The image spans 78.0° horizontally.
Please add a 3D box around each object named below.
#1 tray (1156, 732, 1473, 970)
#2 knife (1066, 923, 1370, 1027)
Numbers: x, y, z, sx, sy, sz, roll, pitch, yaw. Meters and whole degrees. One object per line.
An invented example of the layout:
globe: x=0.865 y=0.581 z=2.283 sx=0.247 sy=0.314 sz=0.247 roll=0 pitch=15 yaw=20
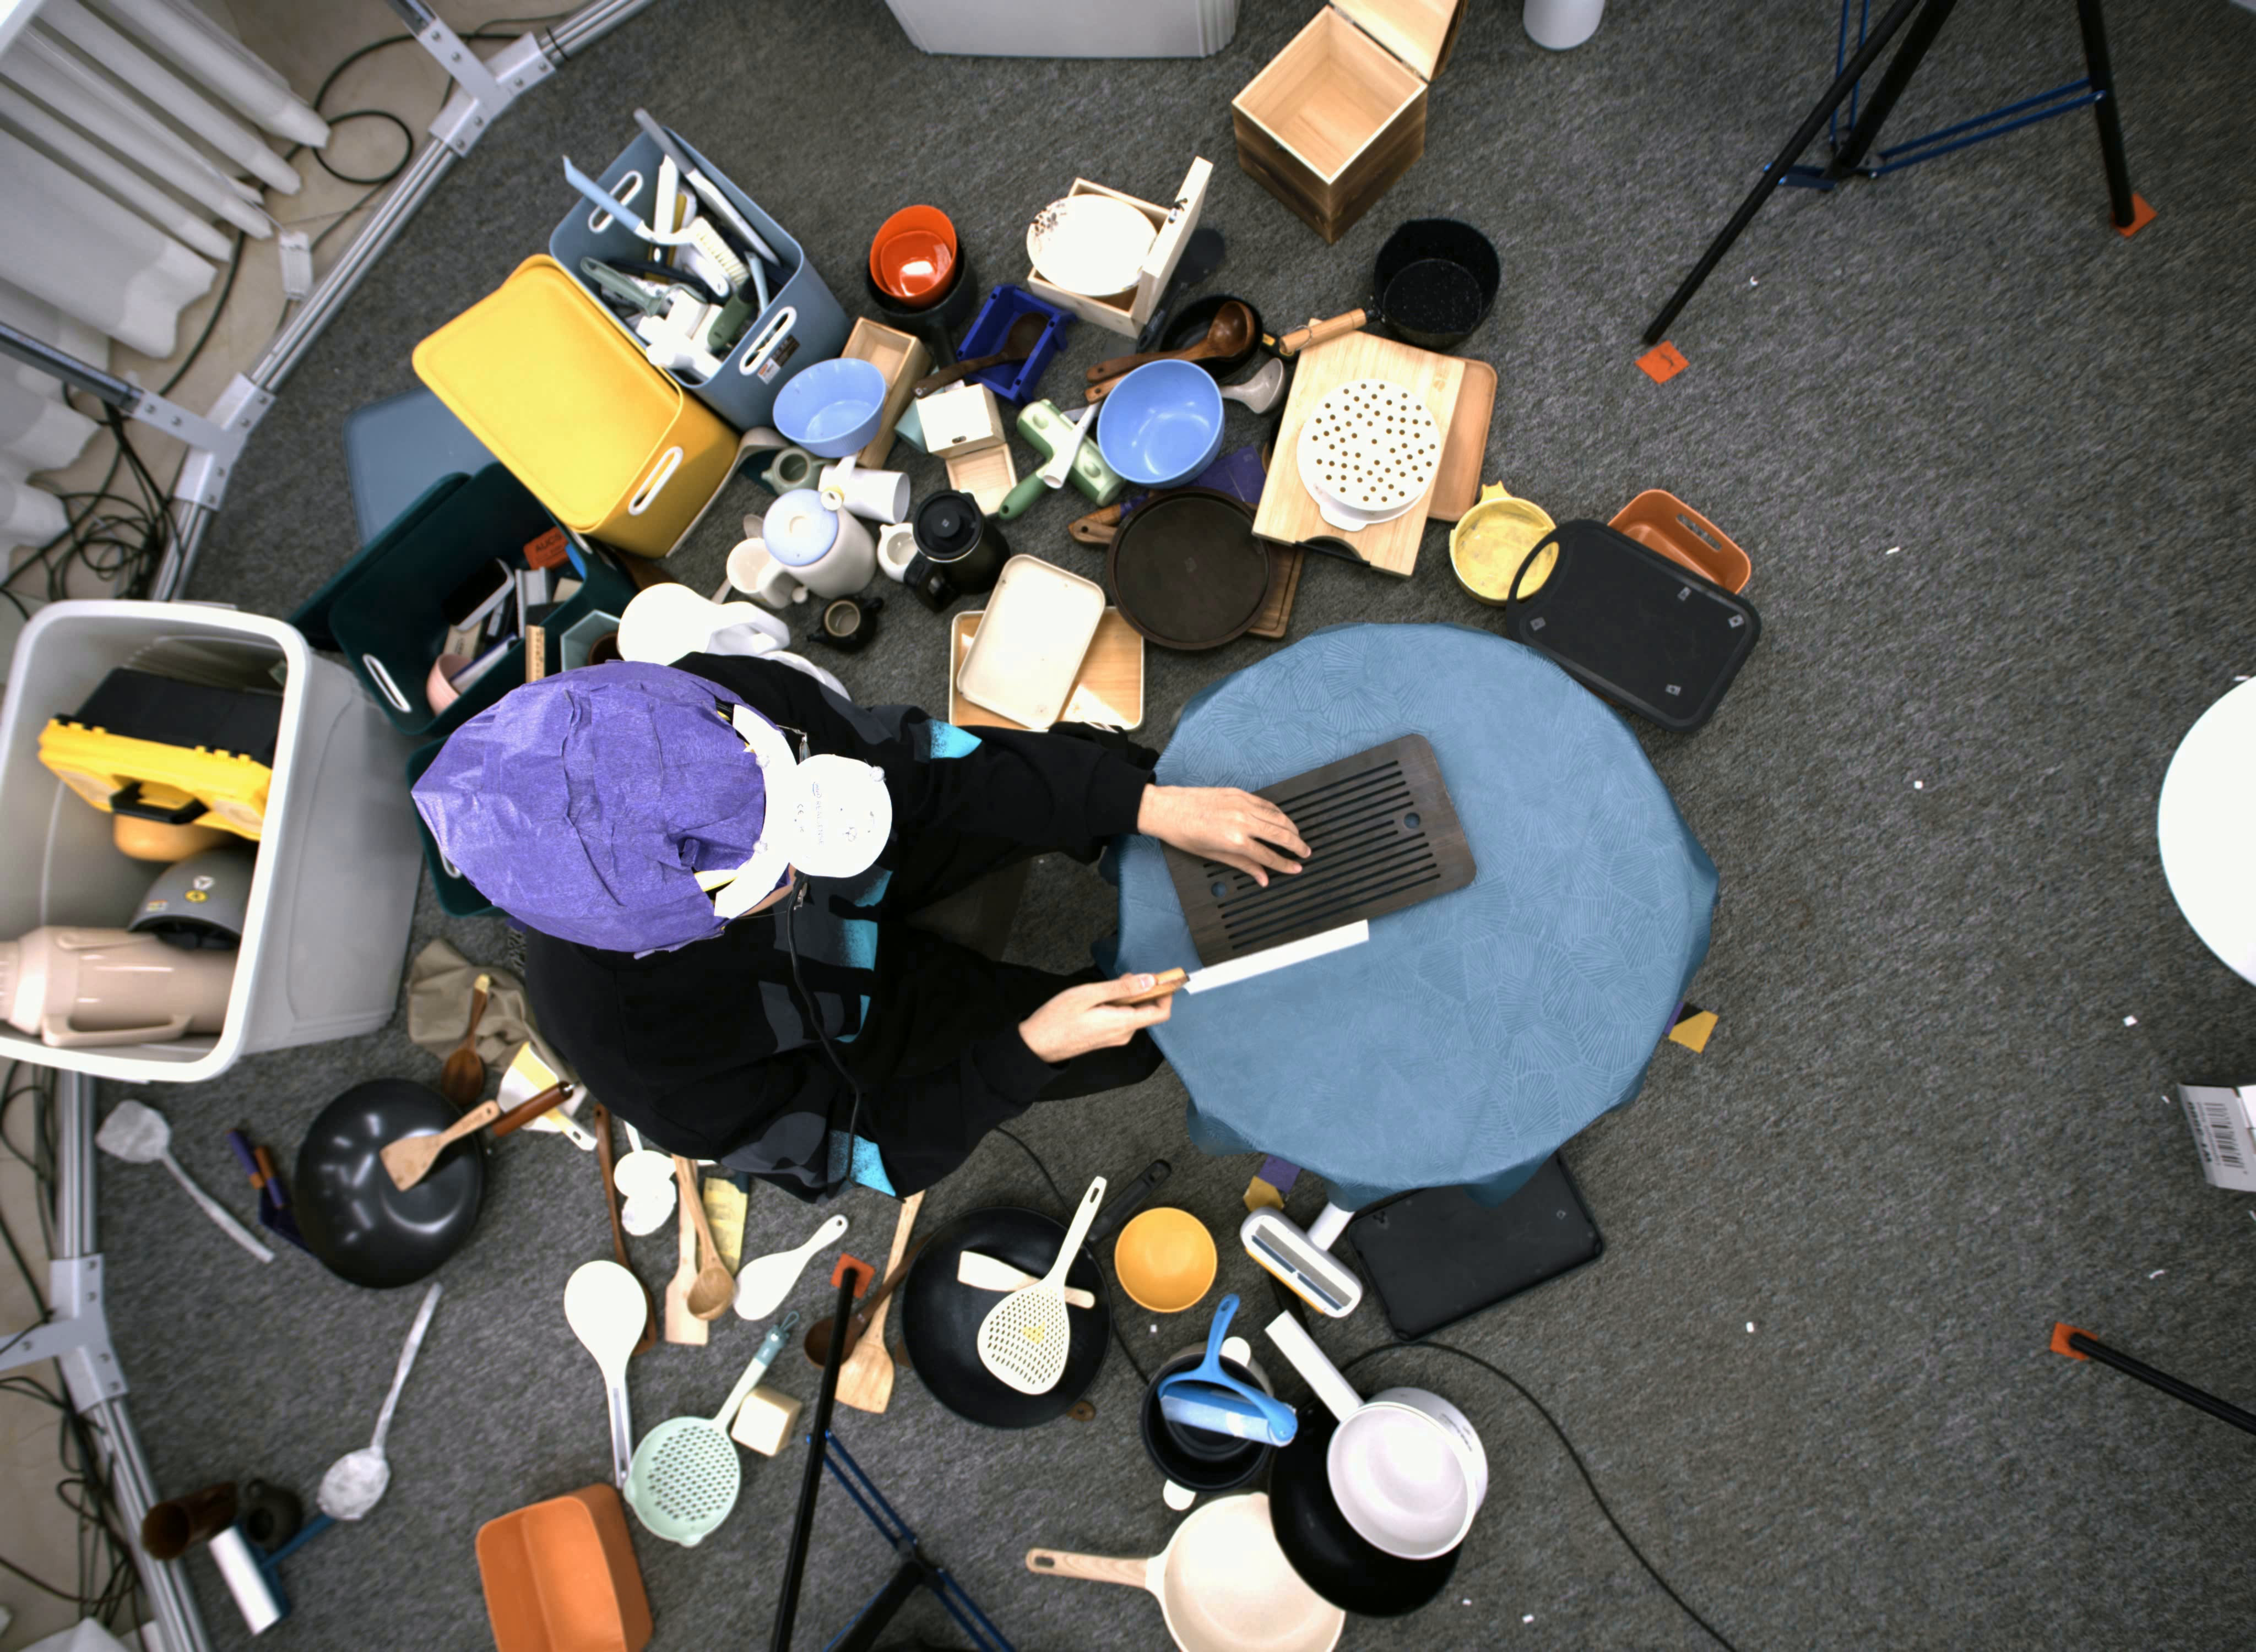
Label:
tray: x=0.195 y=0.027 z=1.467 sx=0.308 sy=0.018 sz=0.169 roll=-20 pitch=84 yaw=9
knife: x=0.092 y=0.149 z=1.373 sx=0.307 sy=0.094 sz=0.020 roll=-18 pitch=70 yaw=7
